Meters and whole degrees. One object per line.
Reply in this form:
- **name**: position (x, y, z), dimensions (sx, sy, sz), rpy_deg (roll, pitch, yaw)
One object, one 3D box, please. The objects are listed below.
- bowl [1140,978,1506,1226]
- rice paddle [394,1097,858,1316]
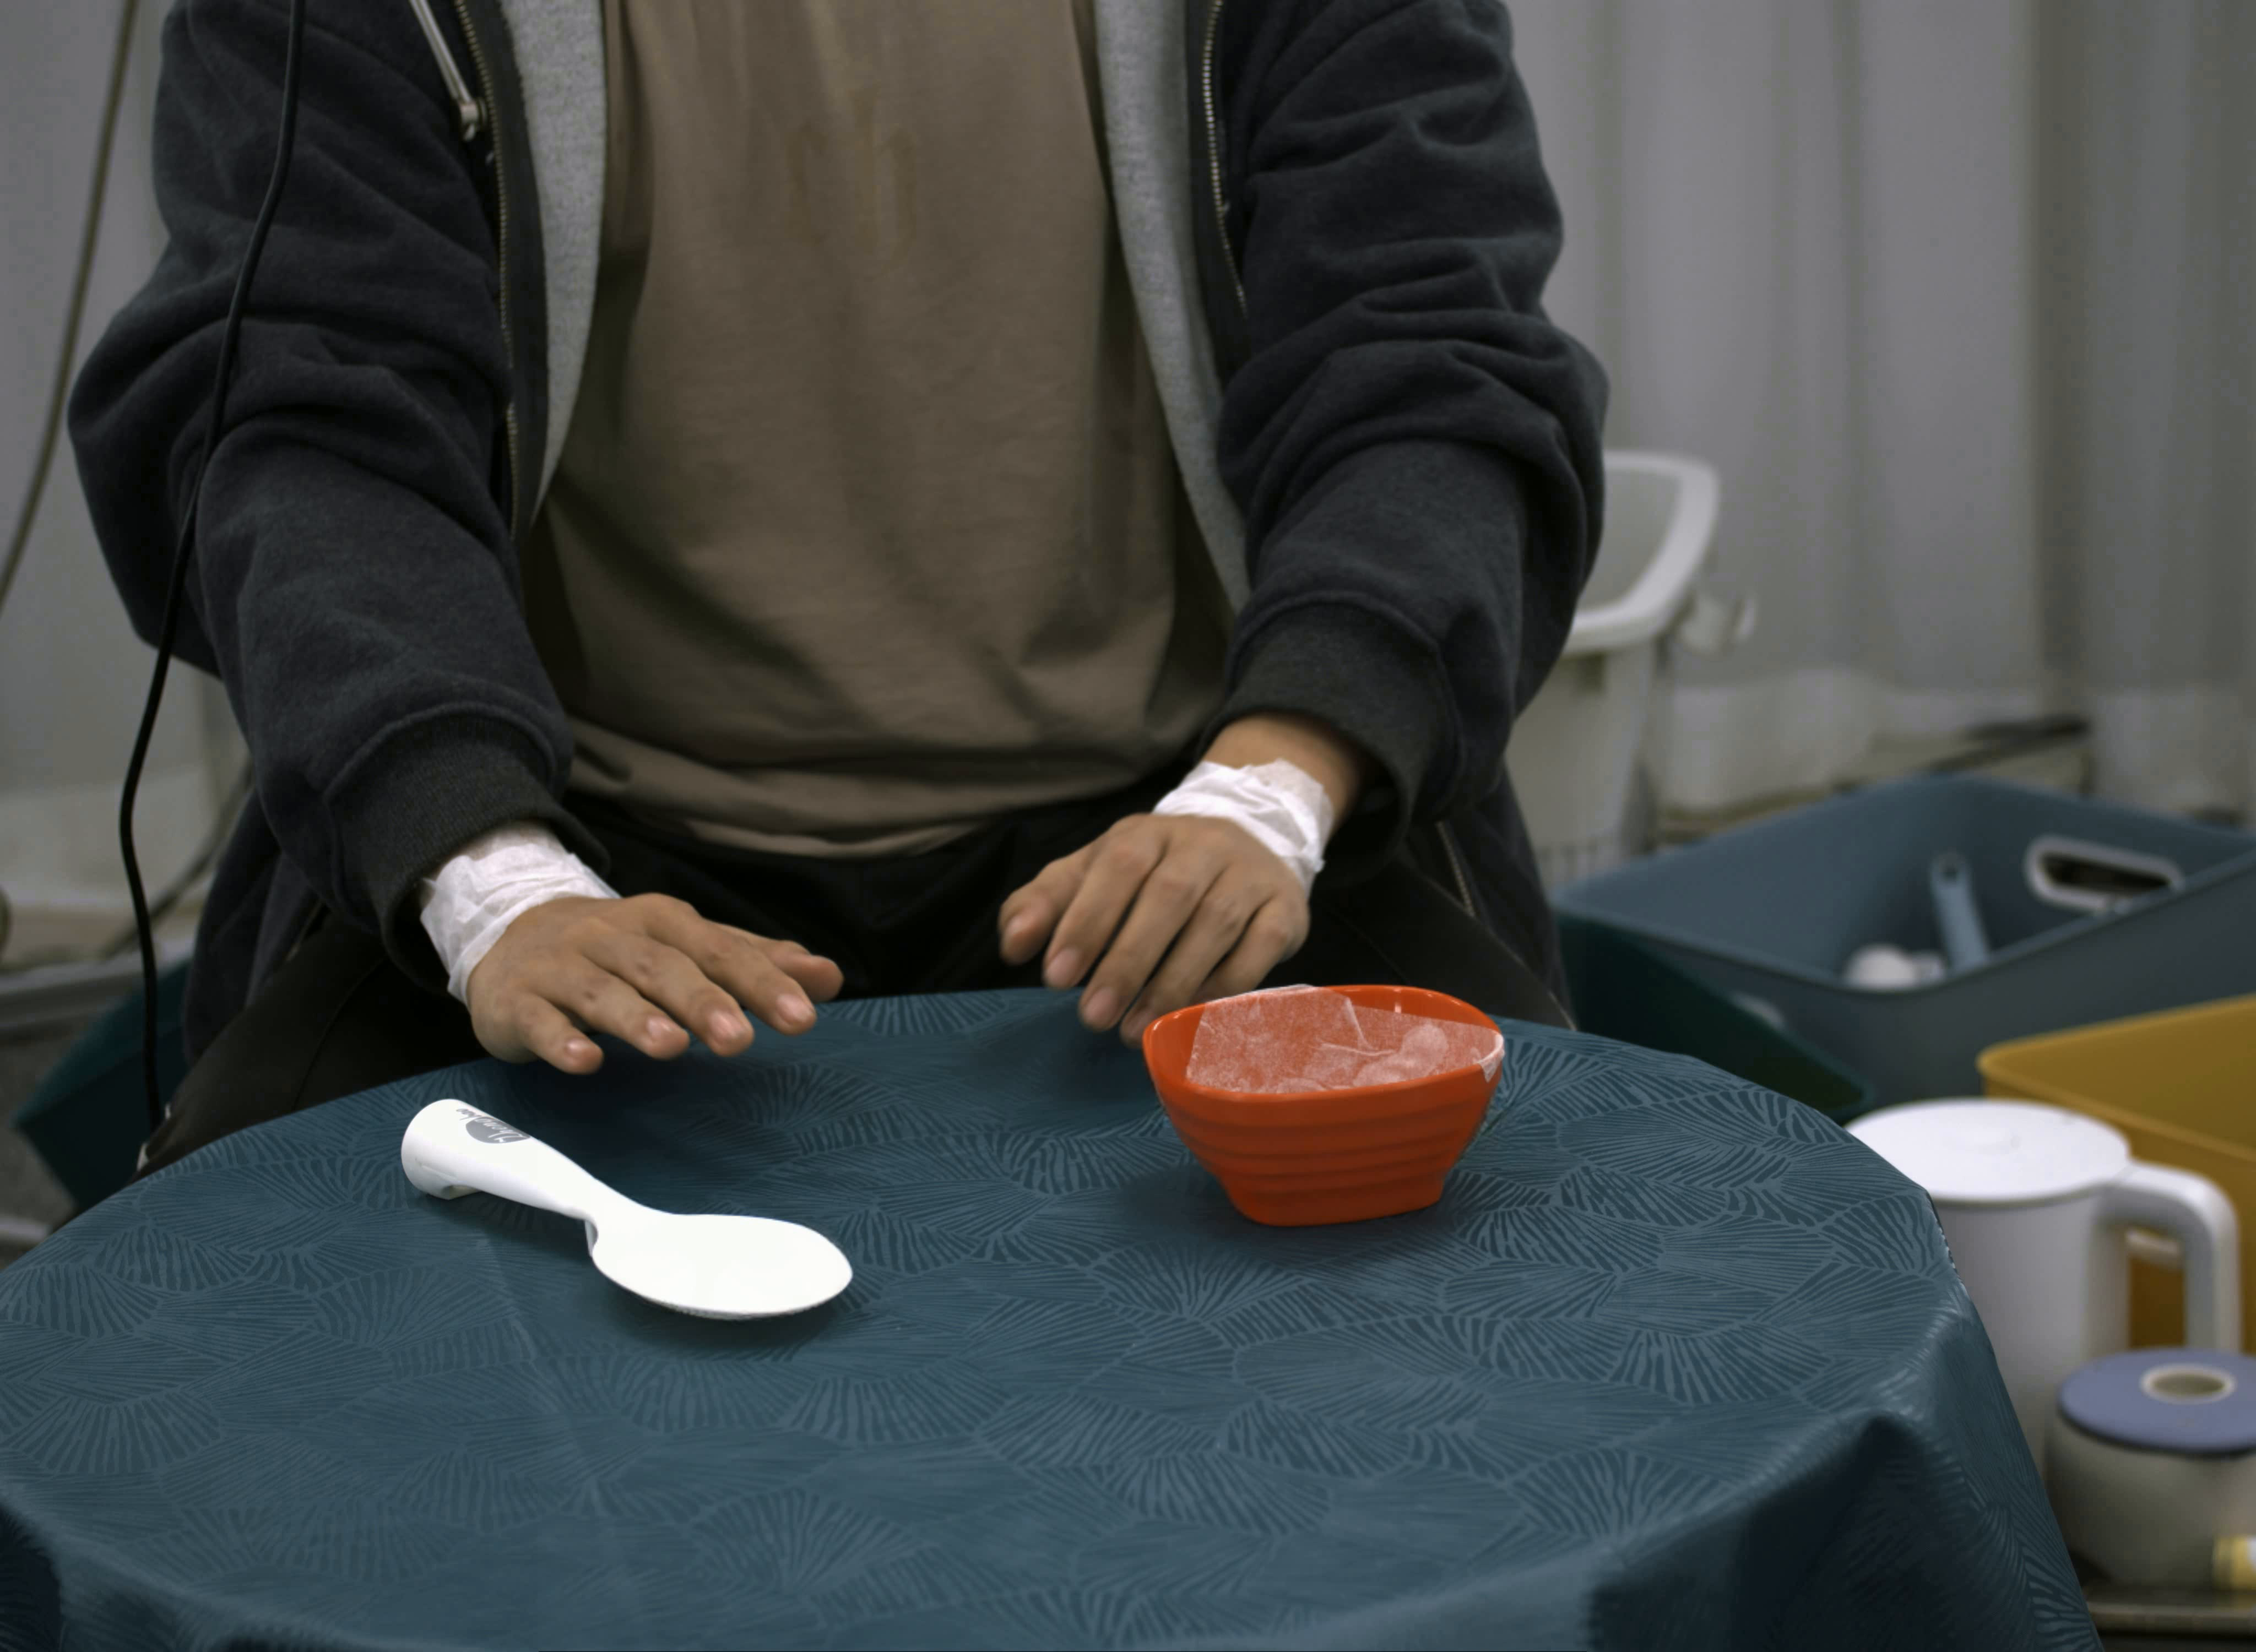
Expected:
- **bowl**: position (0.061, 0.088, 1.701), dimensions (0.118, 0.051, 0.120), rpy_deg (-2, 16, 0)
- **rice paddle**: position (-0.156, 0.118, 1.674), dimensions (0.068, 0.029, 0.206), rpy_deg (-16, 20, -37)
